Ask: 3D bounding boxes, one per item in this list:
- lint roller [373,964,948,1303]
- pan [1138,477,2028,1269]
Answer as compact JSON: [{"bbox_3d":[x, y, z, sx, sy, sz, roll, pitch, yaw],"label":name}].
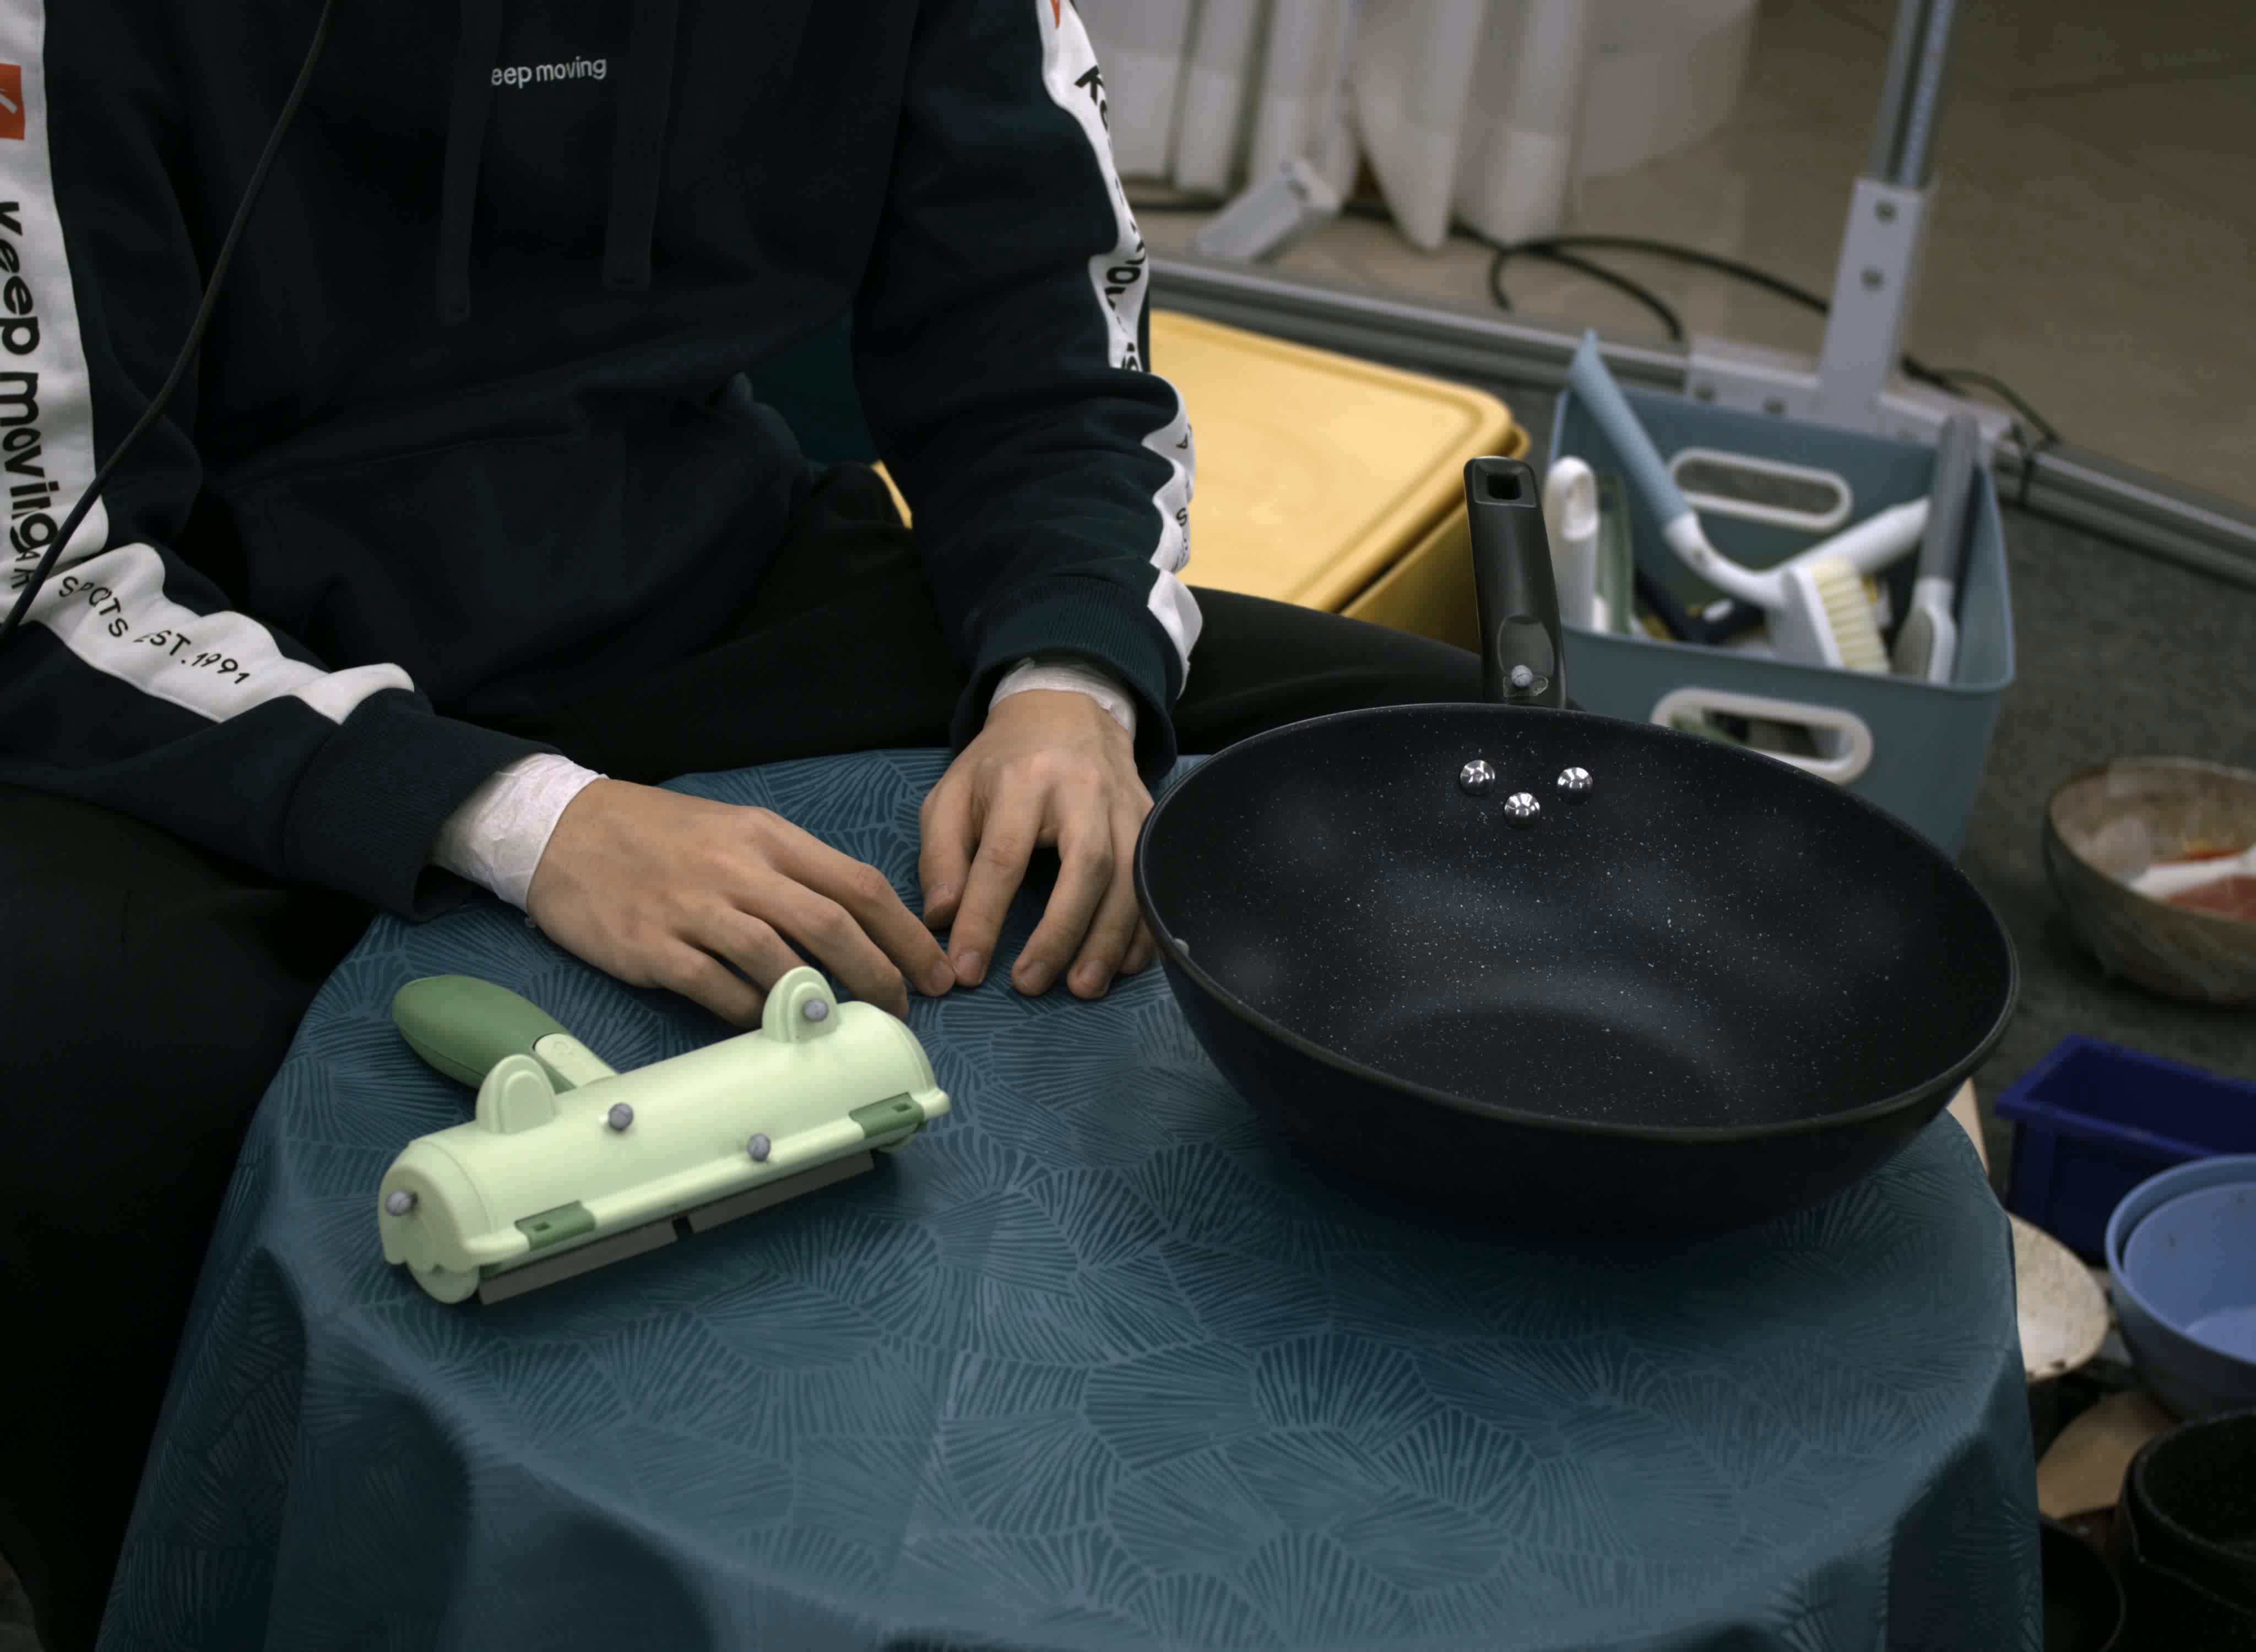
[{"bbox_3d":[-0.187,0.073,1.773,0.197,0.082,0.185,-17,40,-38],"label":"lint roller"},{"bbox_3d":[0.150,0.020,1.919,0.309,0.111,0.480,5,27,-5],"label":"pan"}]
